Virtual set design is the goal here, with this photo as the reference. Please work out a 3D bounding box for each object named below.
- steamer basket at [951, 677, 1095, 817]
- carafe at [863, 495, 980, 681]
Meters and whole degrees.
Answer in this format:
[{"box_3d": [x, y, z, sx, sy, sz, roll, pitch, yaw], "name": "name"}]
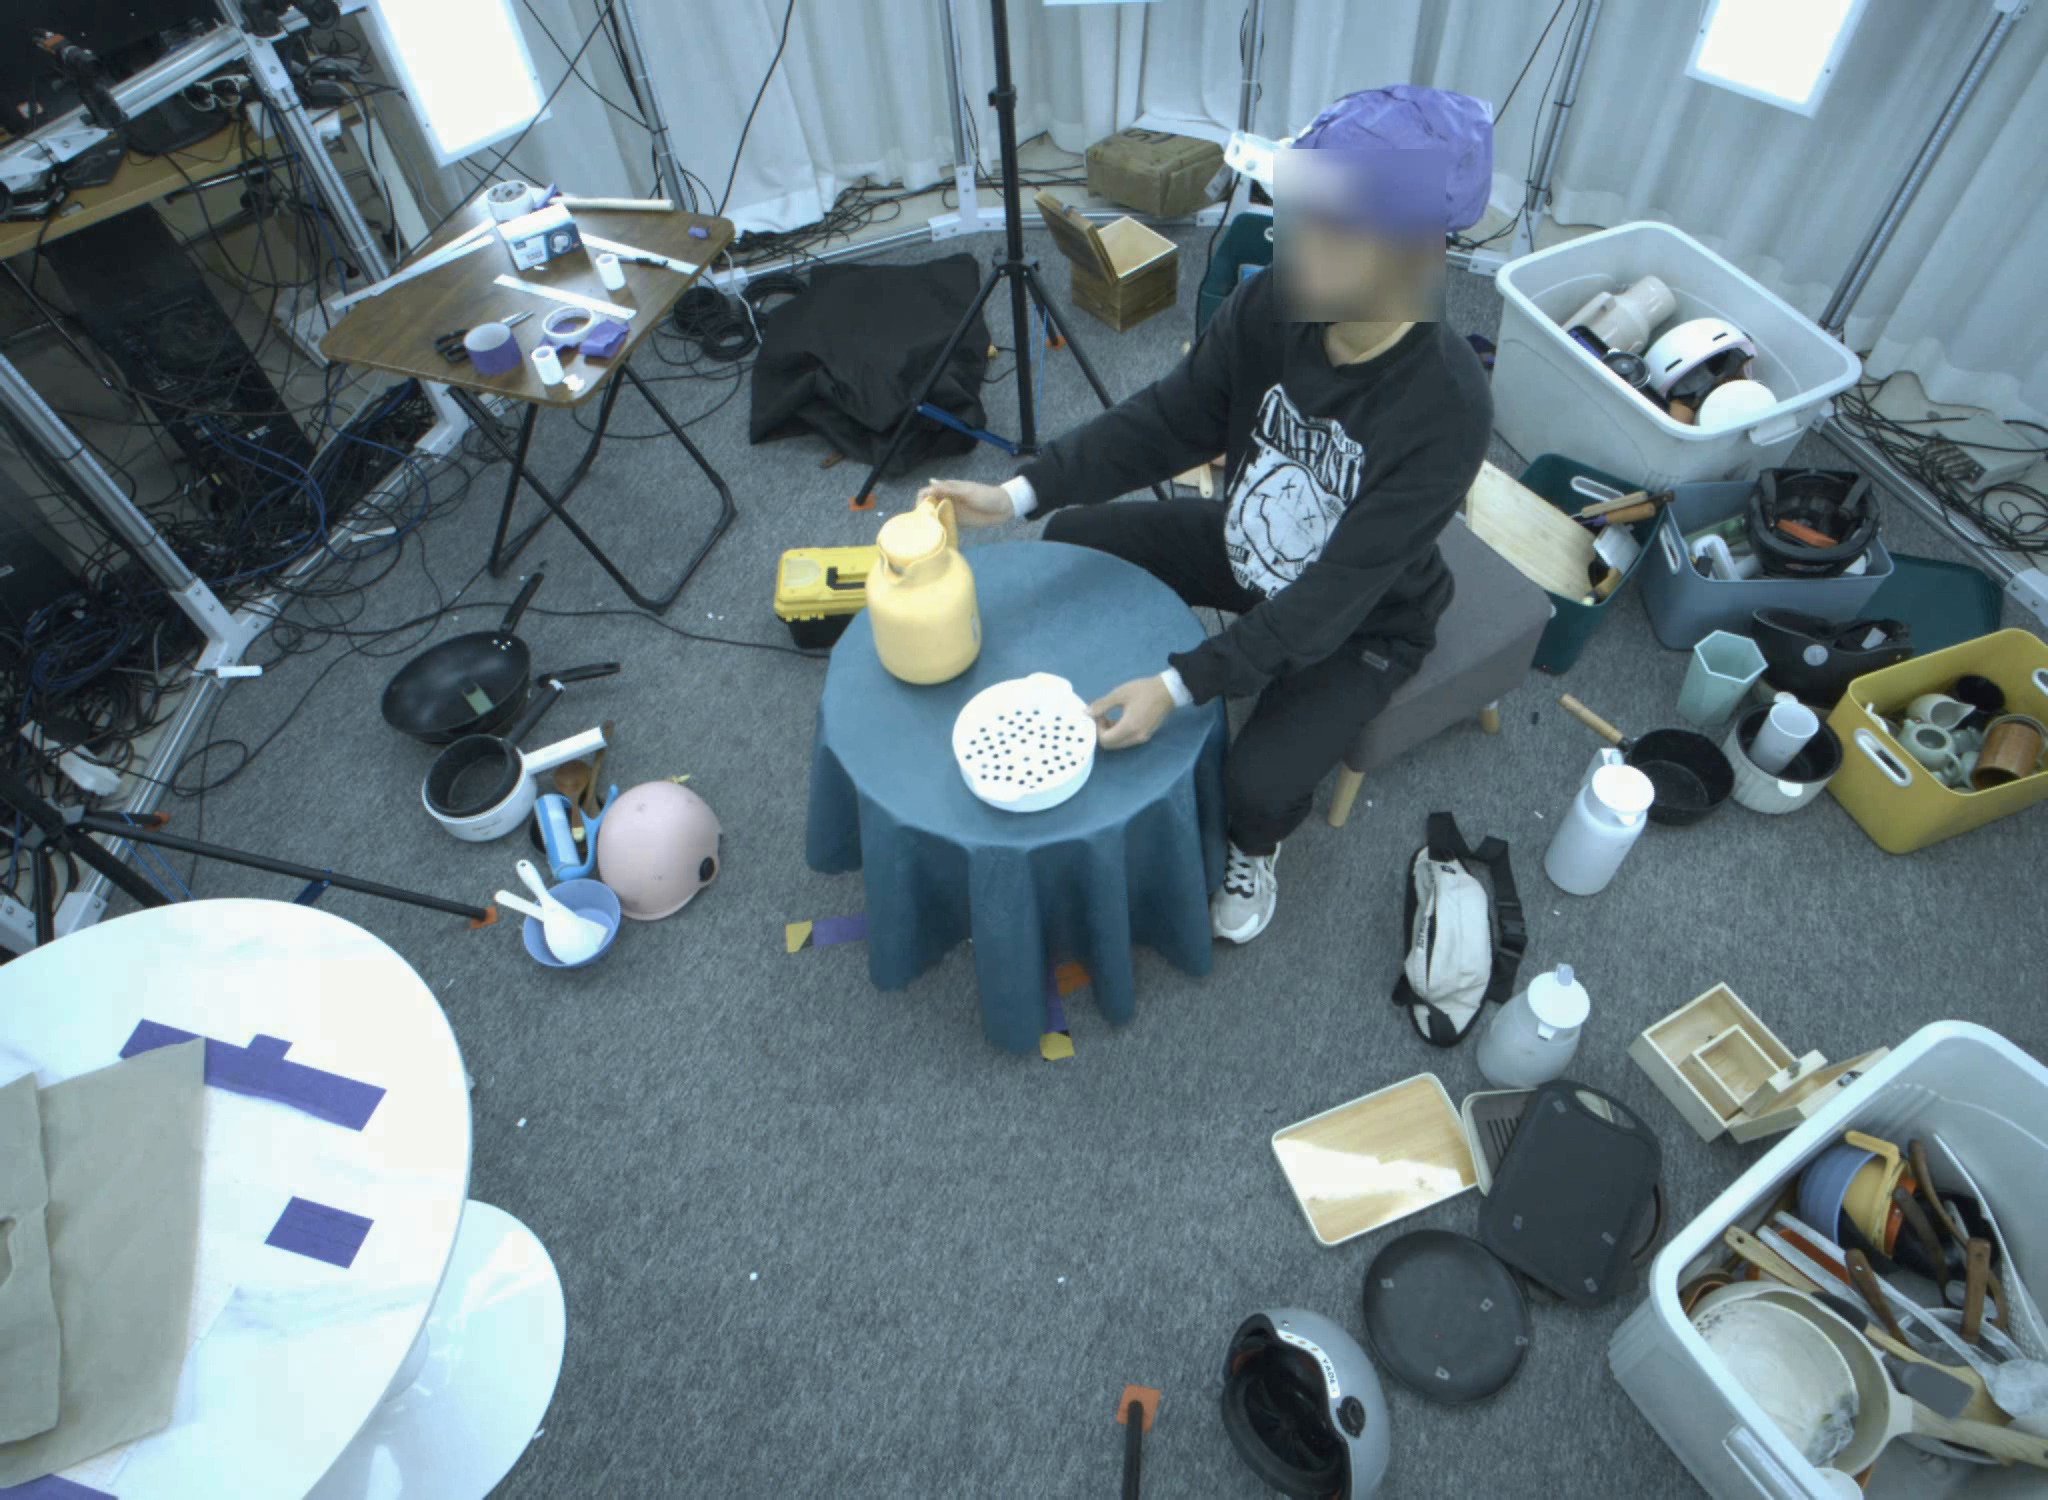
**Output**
[{"box_3d": [0.000, 0.001, 1.746, 0.200, 0.070, 0.230, 16, 56, 14], "name": "steamer basket"}, {"box_3d": [-0.145, -0.244, 1.800, 0.162, 0.263, 0.202, 17, 59, 12], "name": "carafe"}]
